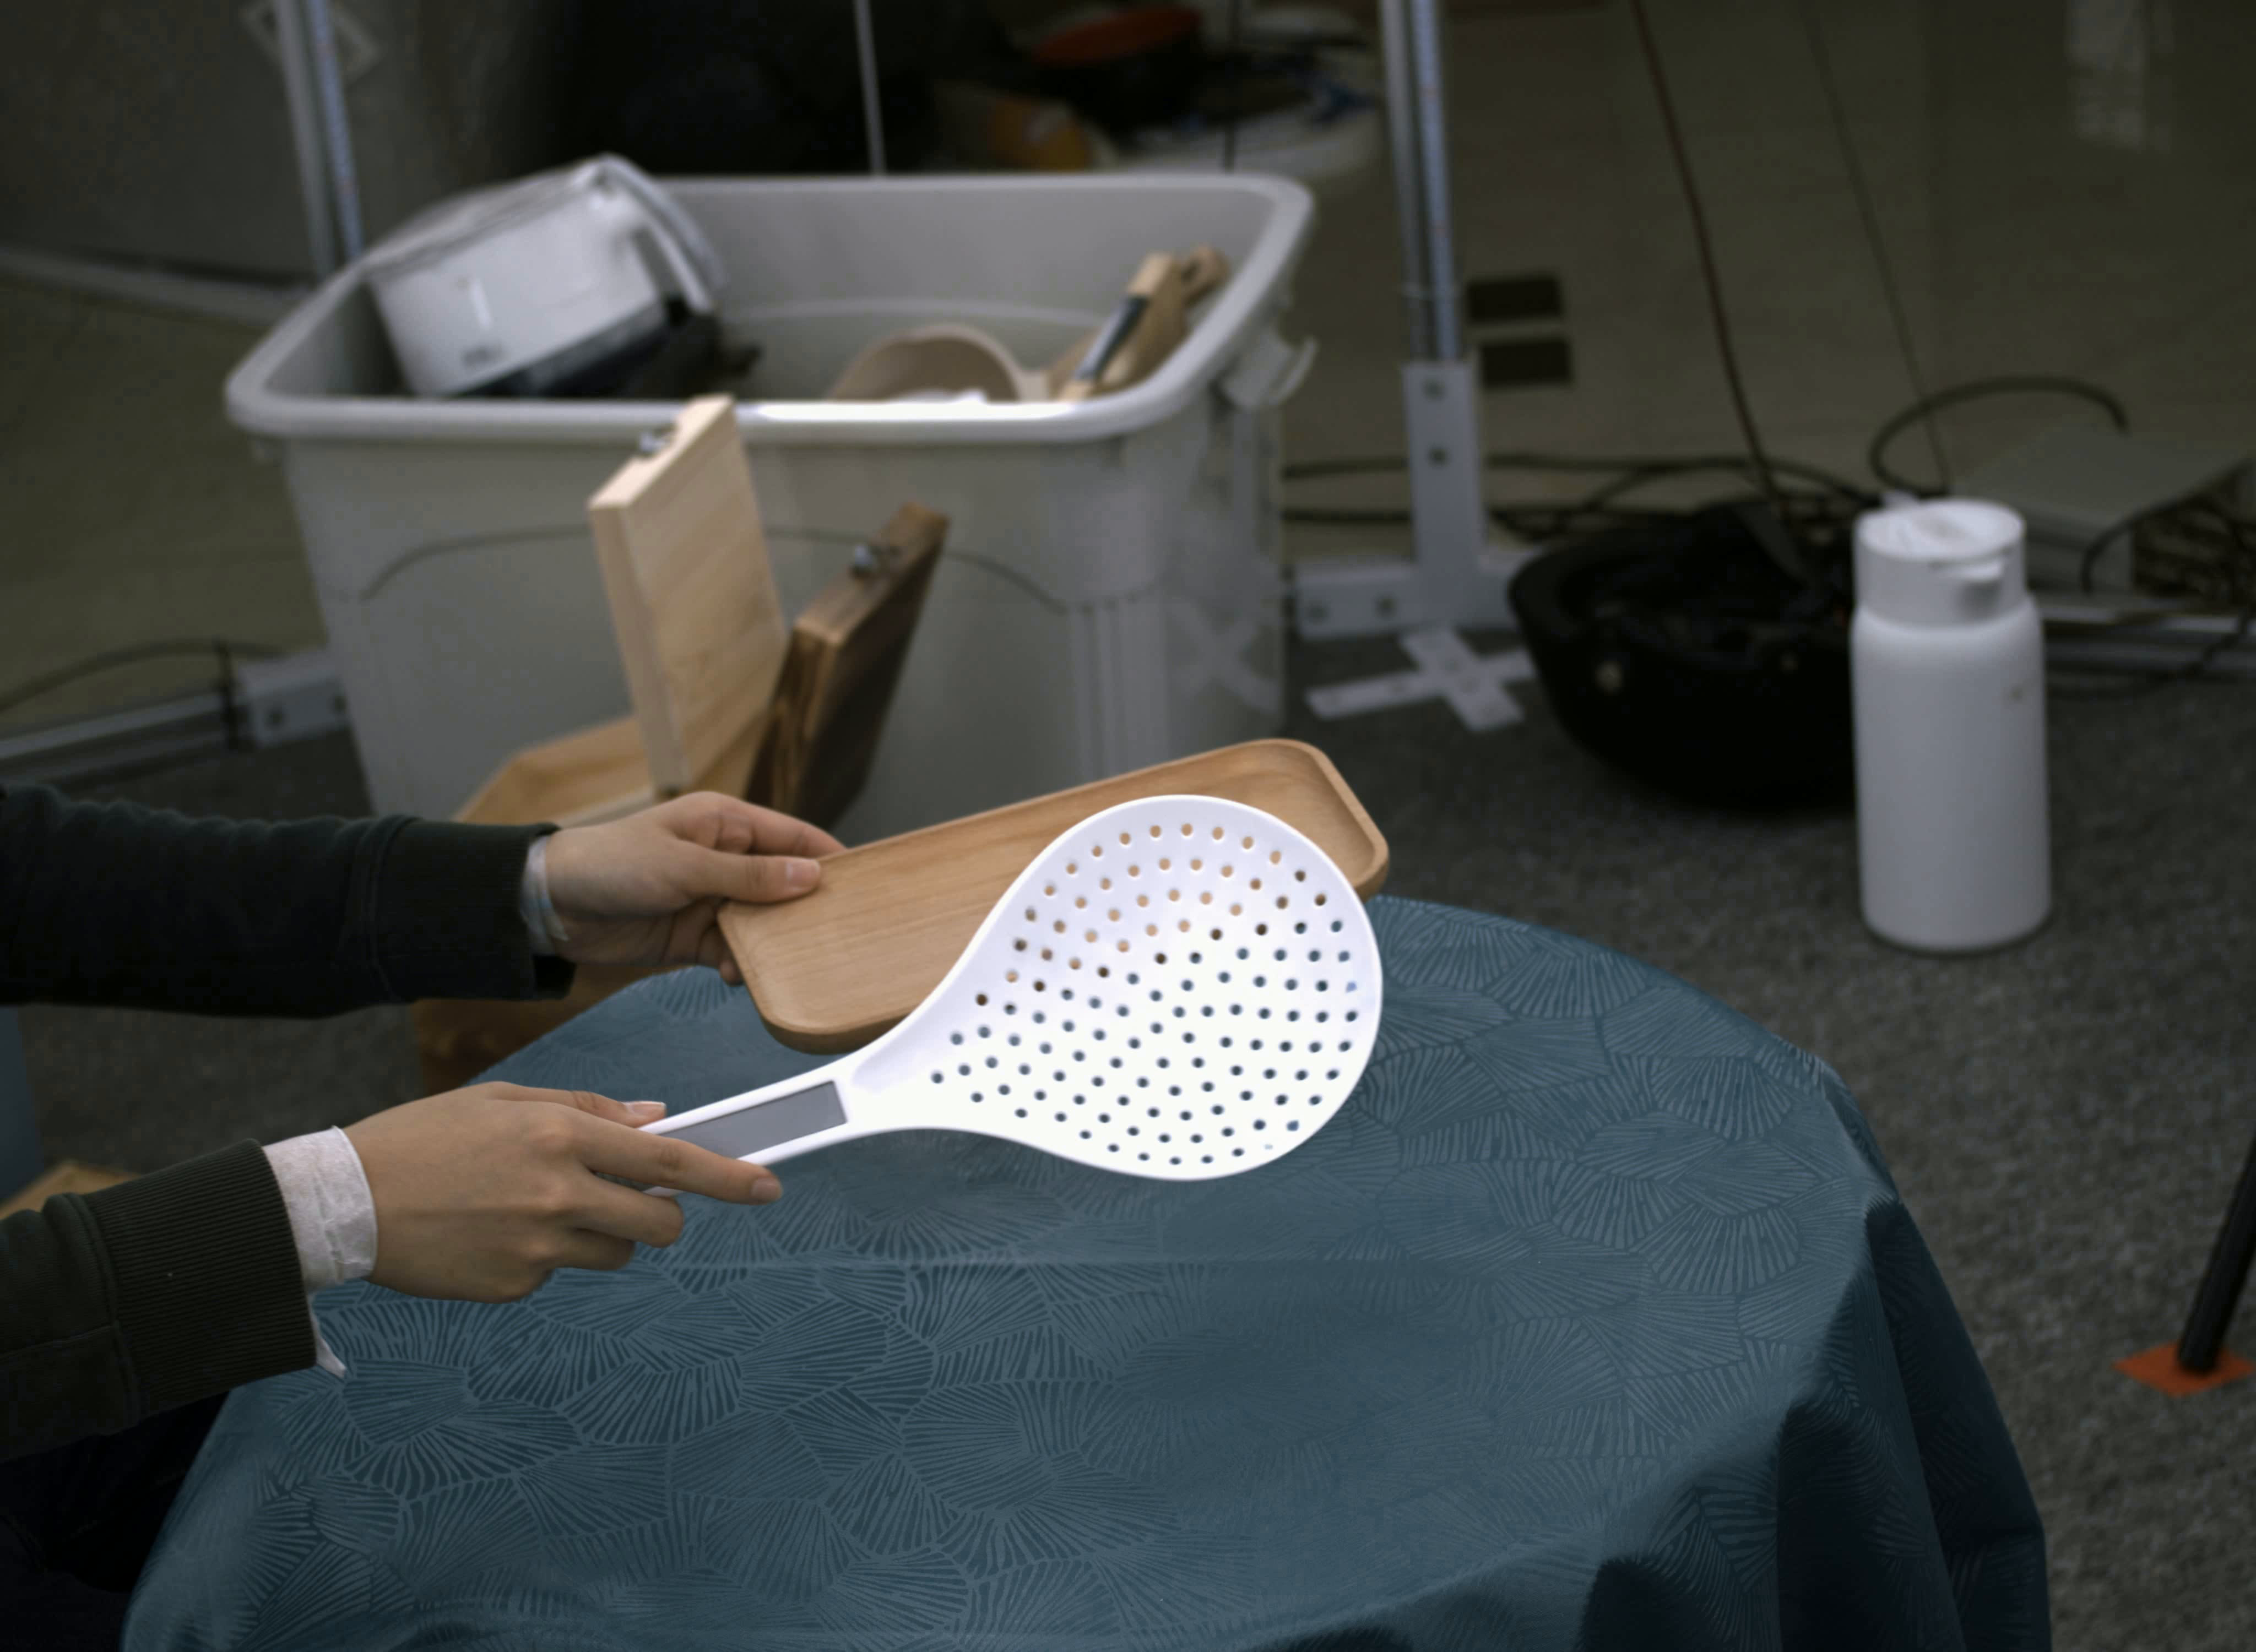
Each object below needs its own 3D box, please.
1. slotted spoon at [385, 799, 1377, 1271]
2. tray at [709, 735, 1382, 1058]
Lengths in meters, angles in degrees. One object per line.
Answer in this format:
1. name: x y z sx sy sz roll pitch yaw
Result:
1. slotted spoon: -0.084 0.090 1.948 0.348 0.135 0.046 -16 -11 -11
2. tray: -0.032 0.027 2.182 0.250 0.023 0.128 -16 30 -10
